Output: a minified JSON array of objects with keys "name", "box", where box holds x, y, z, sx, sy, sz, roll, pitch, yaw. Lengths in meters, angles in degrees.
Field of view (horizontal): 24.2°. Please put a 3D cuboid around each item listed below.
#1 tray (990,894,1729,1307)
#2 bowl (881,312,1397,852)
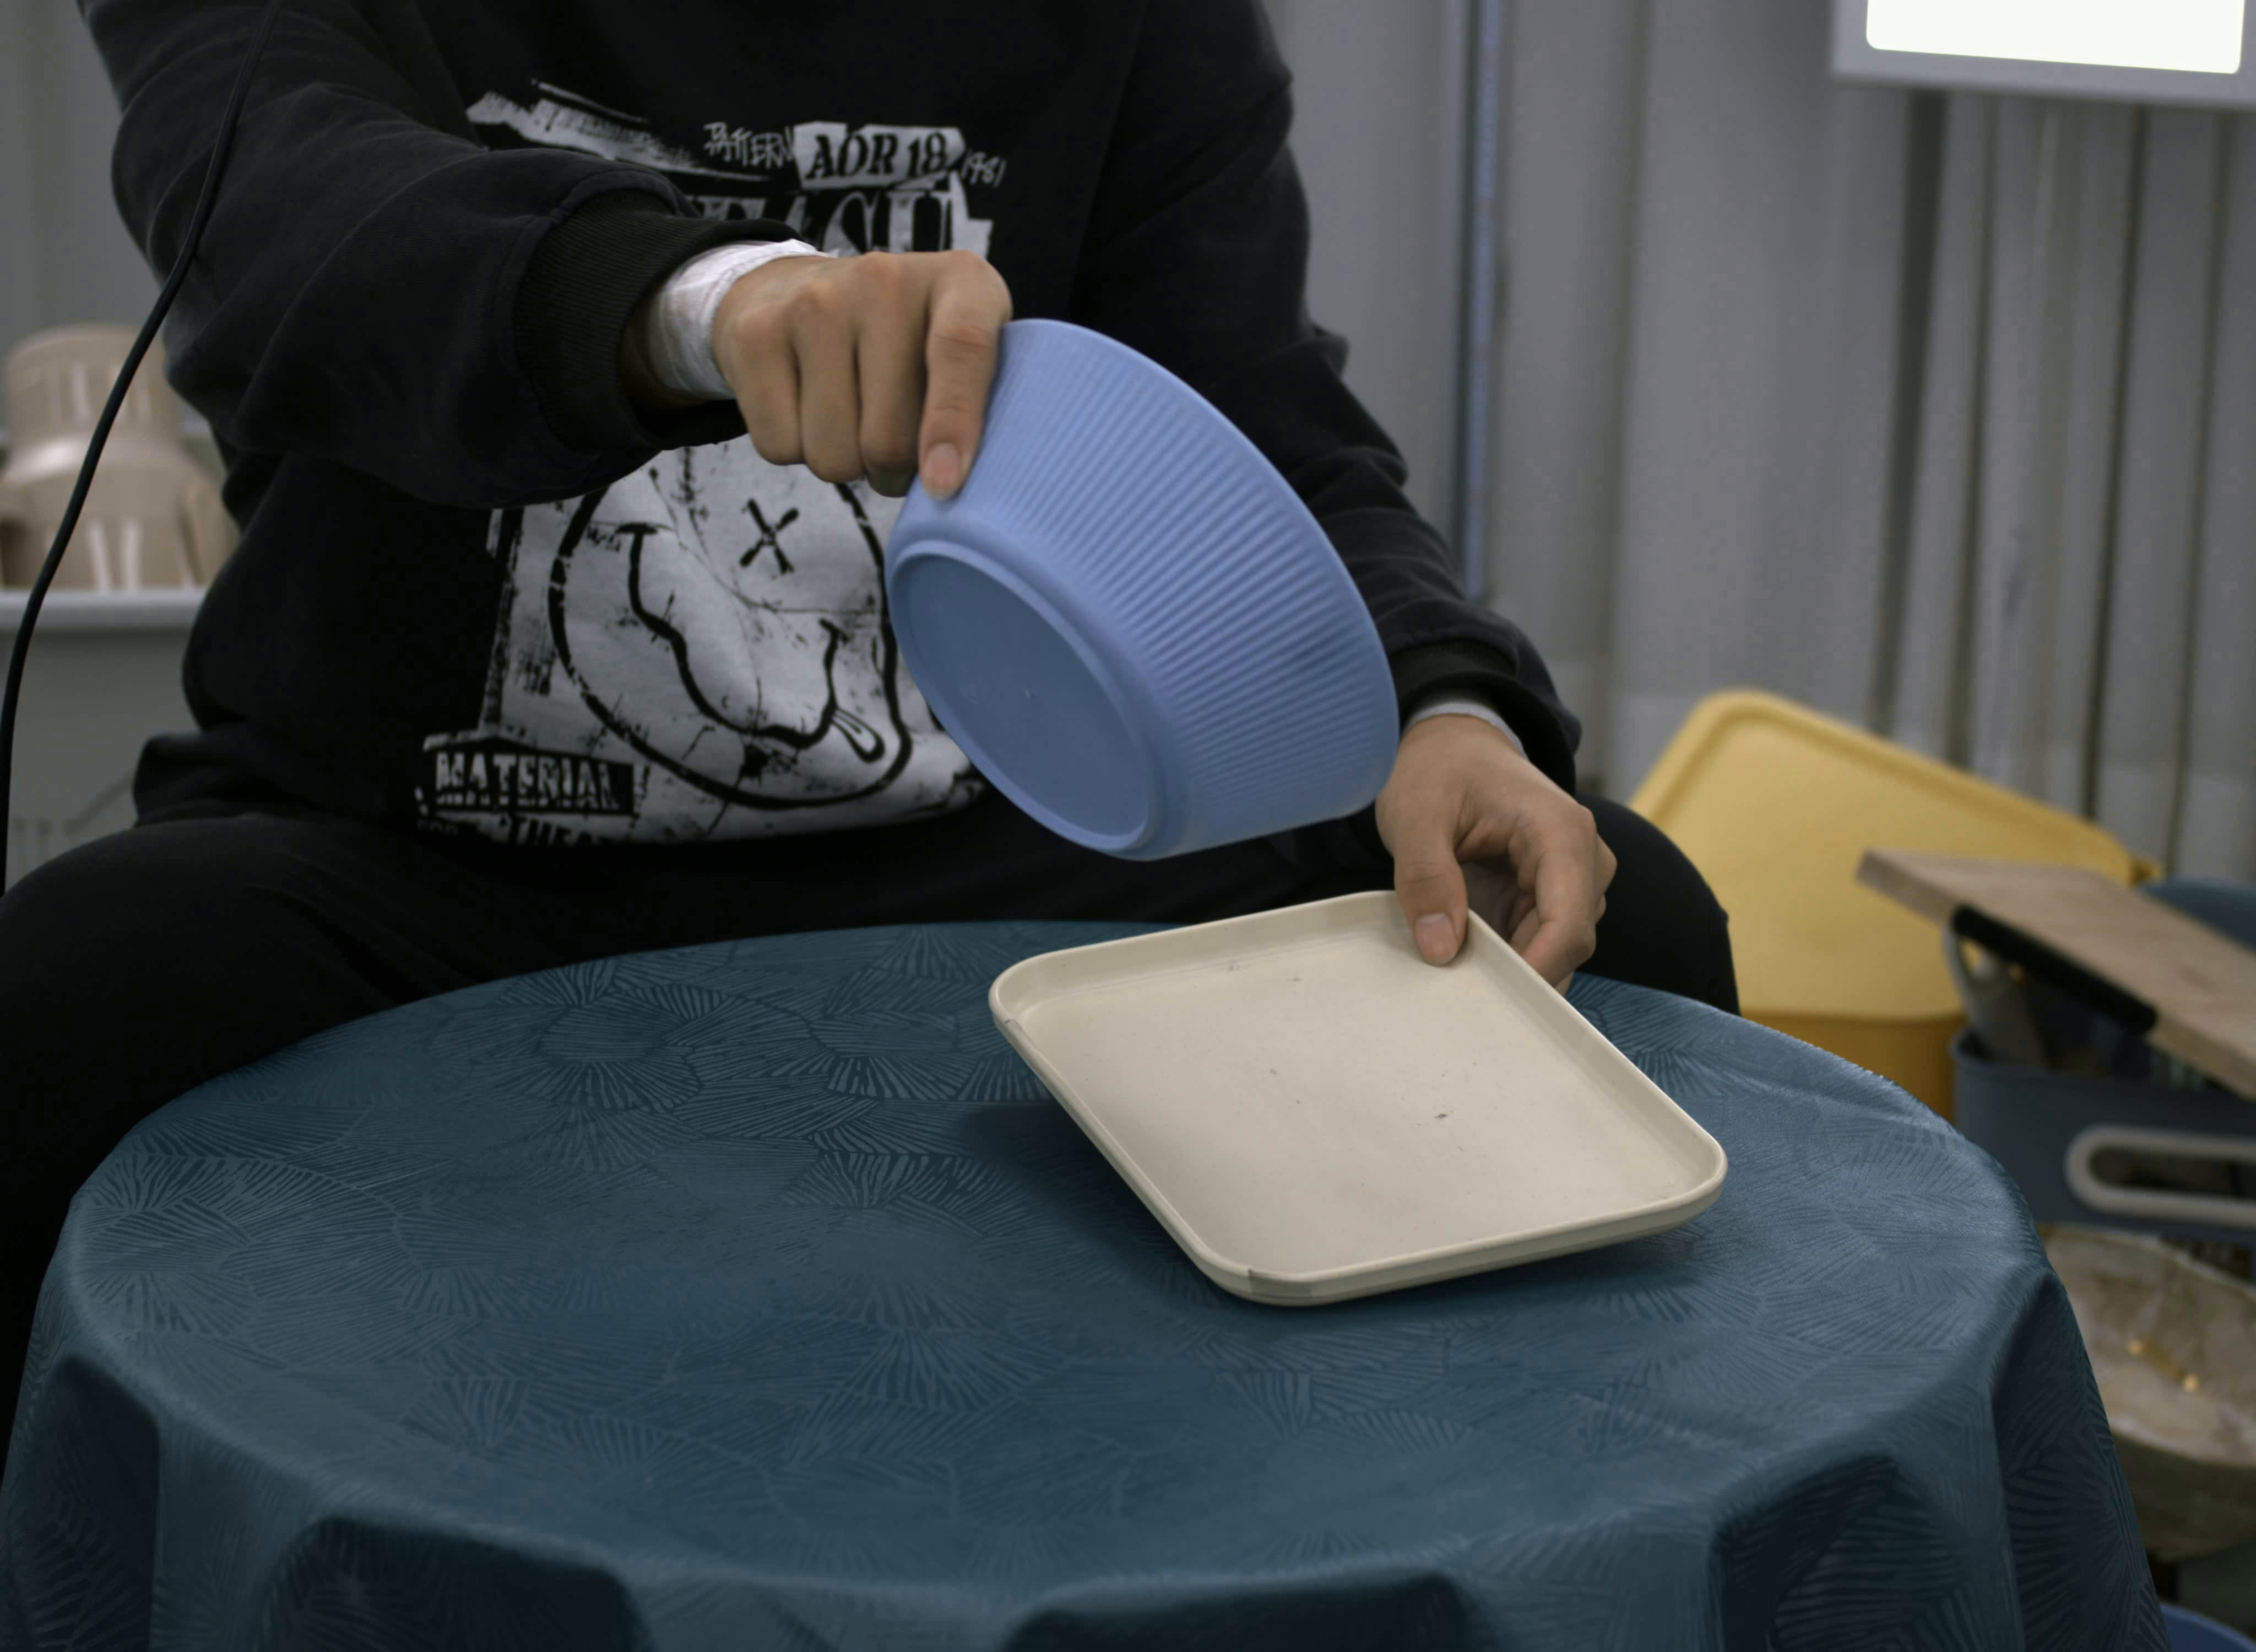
[{"name":"tray","box":[0.068,0.083,1.638,0.171,0.017,0.236,-9,25,-19]},{"name":"bowl","box":[-0.009,-0.058,1.519,0.070,0.178,0.173,-42,37,-24]}]
